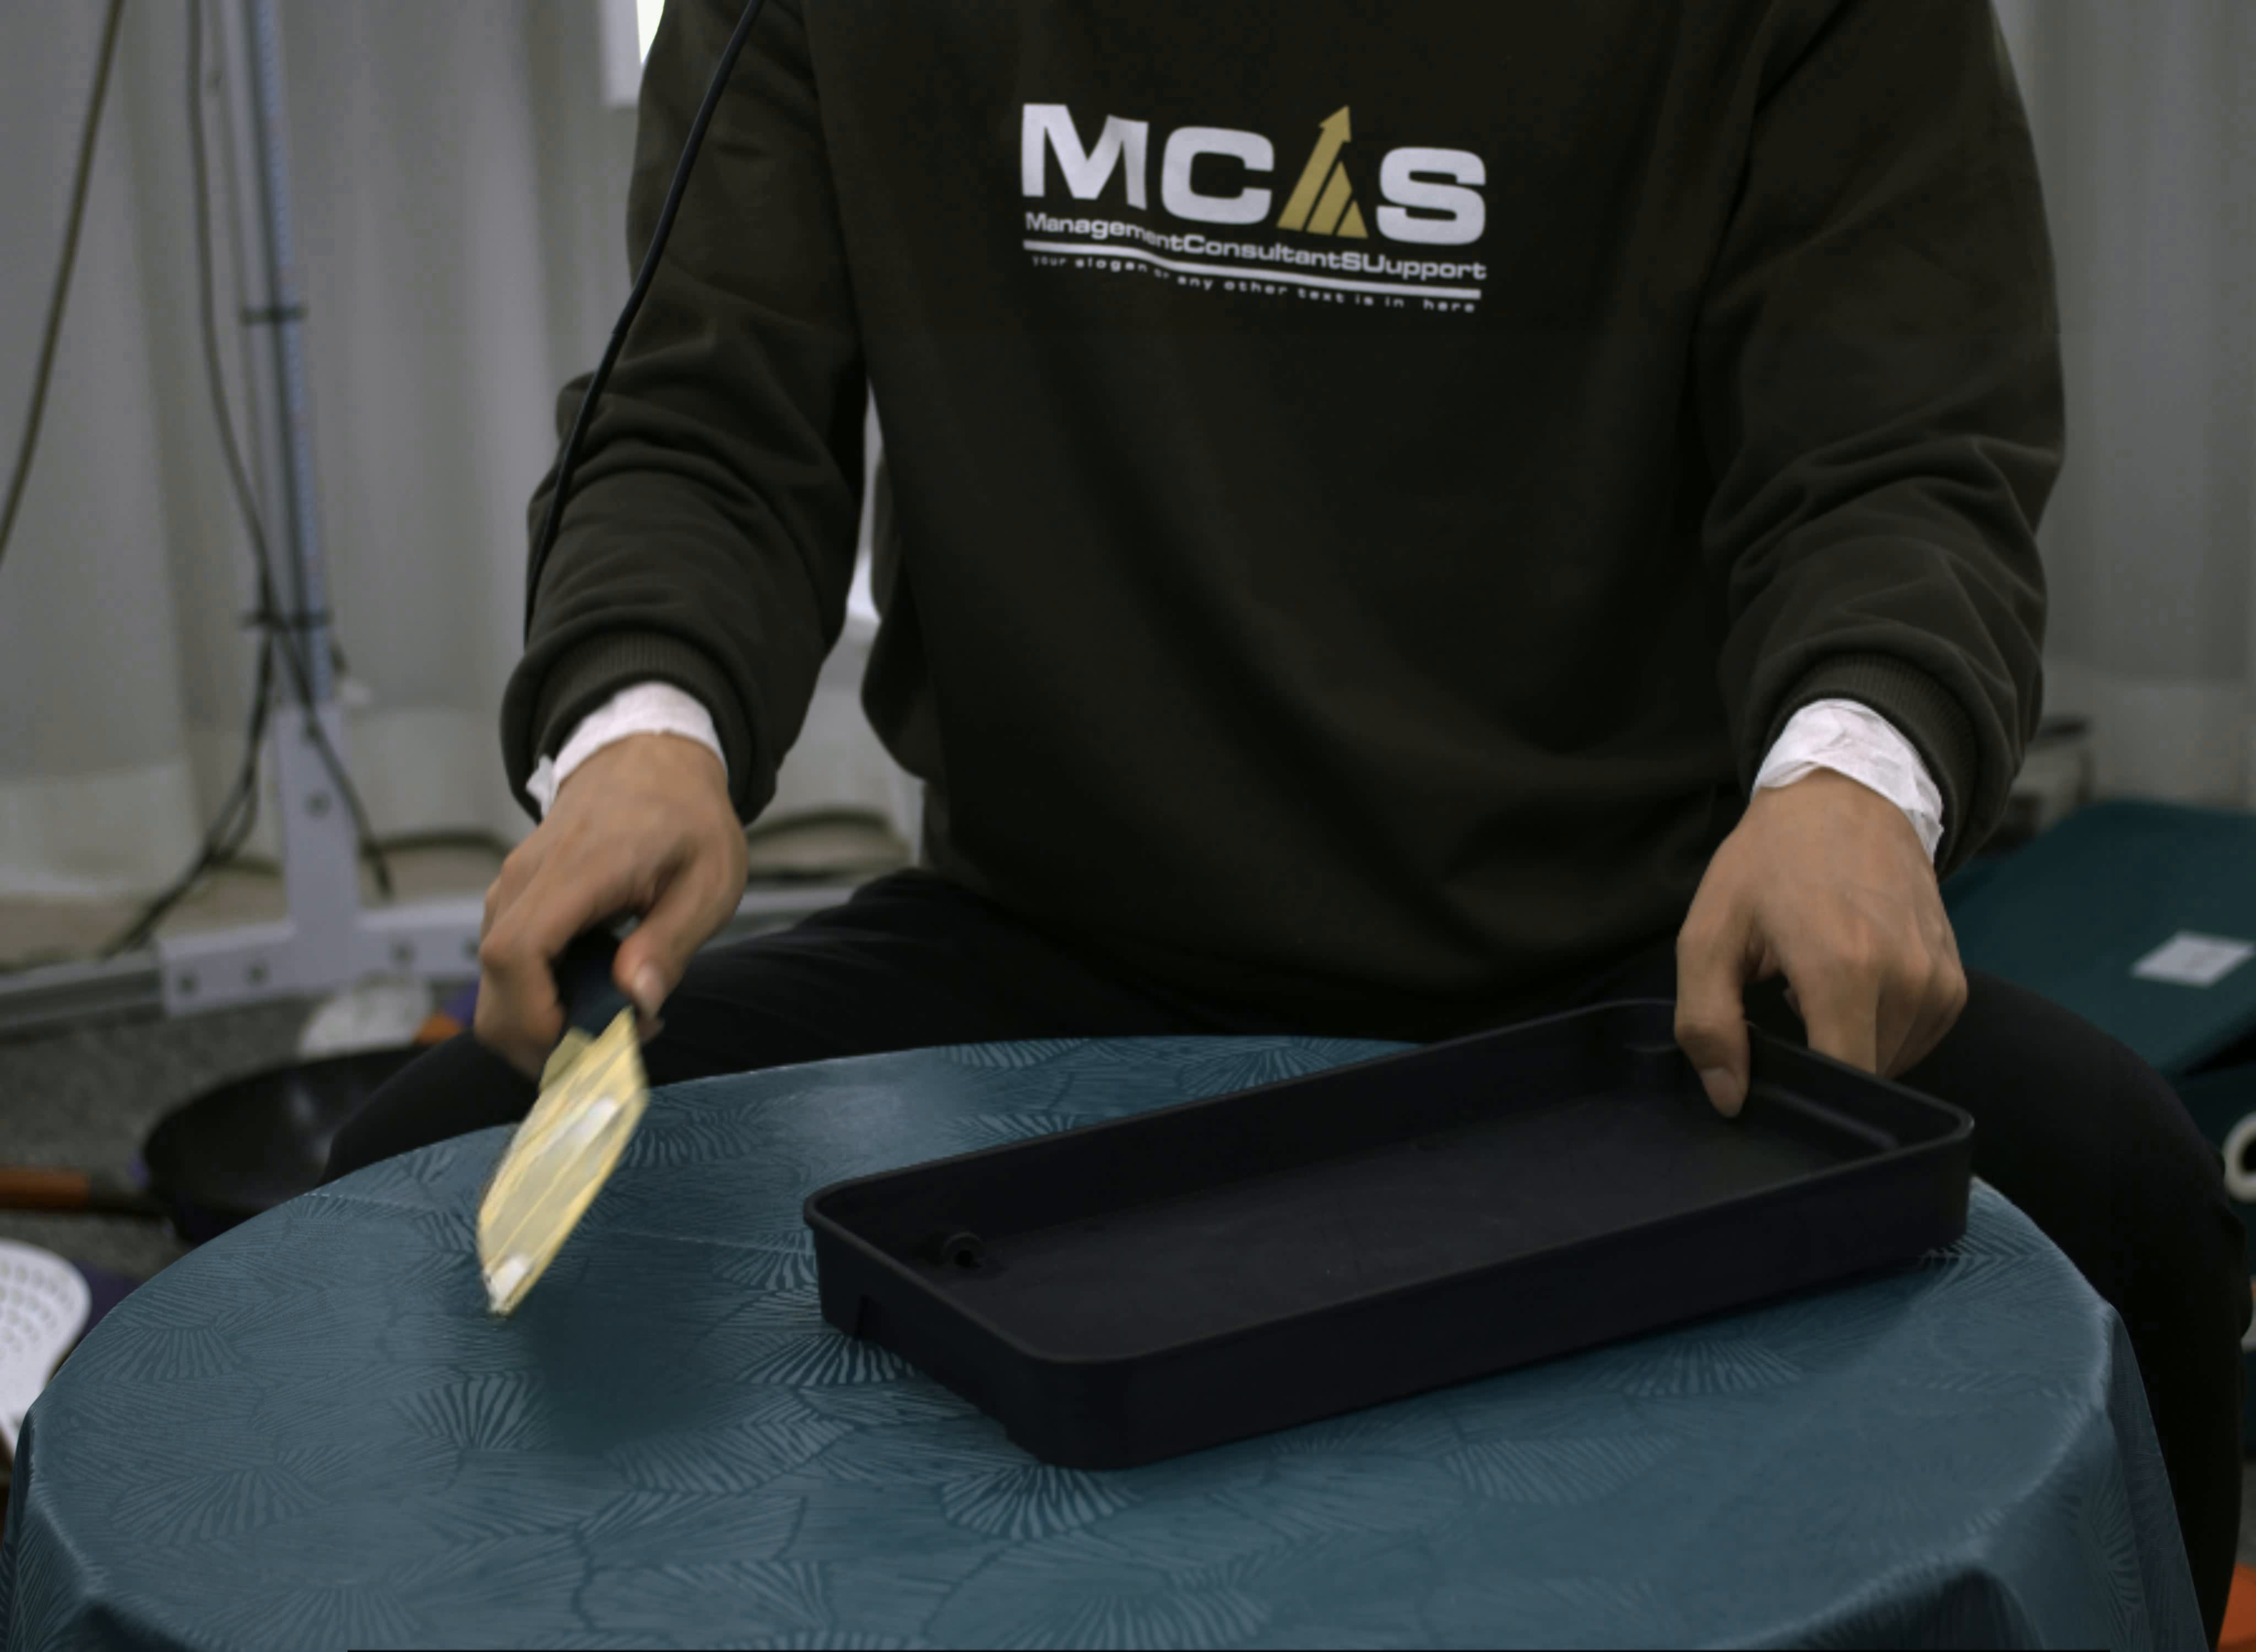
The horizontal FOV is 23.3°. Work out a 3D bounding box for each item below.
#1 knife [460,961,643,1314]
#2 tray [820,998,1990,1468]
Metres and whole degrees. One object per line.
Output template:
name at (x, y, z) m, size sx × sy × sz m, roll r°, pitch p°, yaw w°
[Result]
knife at (-0.174, 0.091, 1.653) m, size 0.027 × 0.081 × 0.291 m, roll 40°, pitch 8°, yaw -10°
tray at (0.083, 0.115, 1.623) m, size 0.317 × 0.037 × 0.185 m, roll -12°, pitch 17°, yaw -28°
